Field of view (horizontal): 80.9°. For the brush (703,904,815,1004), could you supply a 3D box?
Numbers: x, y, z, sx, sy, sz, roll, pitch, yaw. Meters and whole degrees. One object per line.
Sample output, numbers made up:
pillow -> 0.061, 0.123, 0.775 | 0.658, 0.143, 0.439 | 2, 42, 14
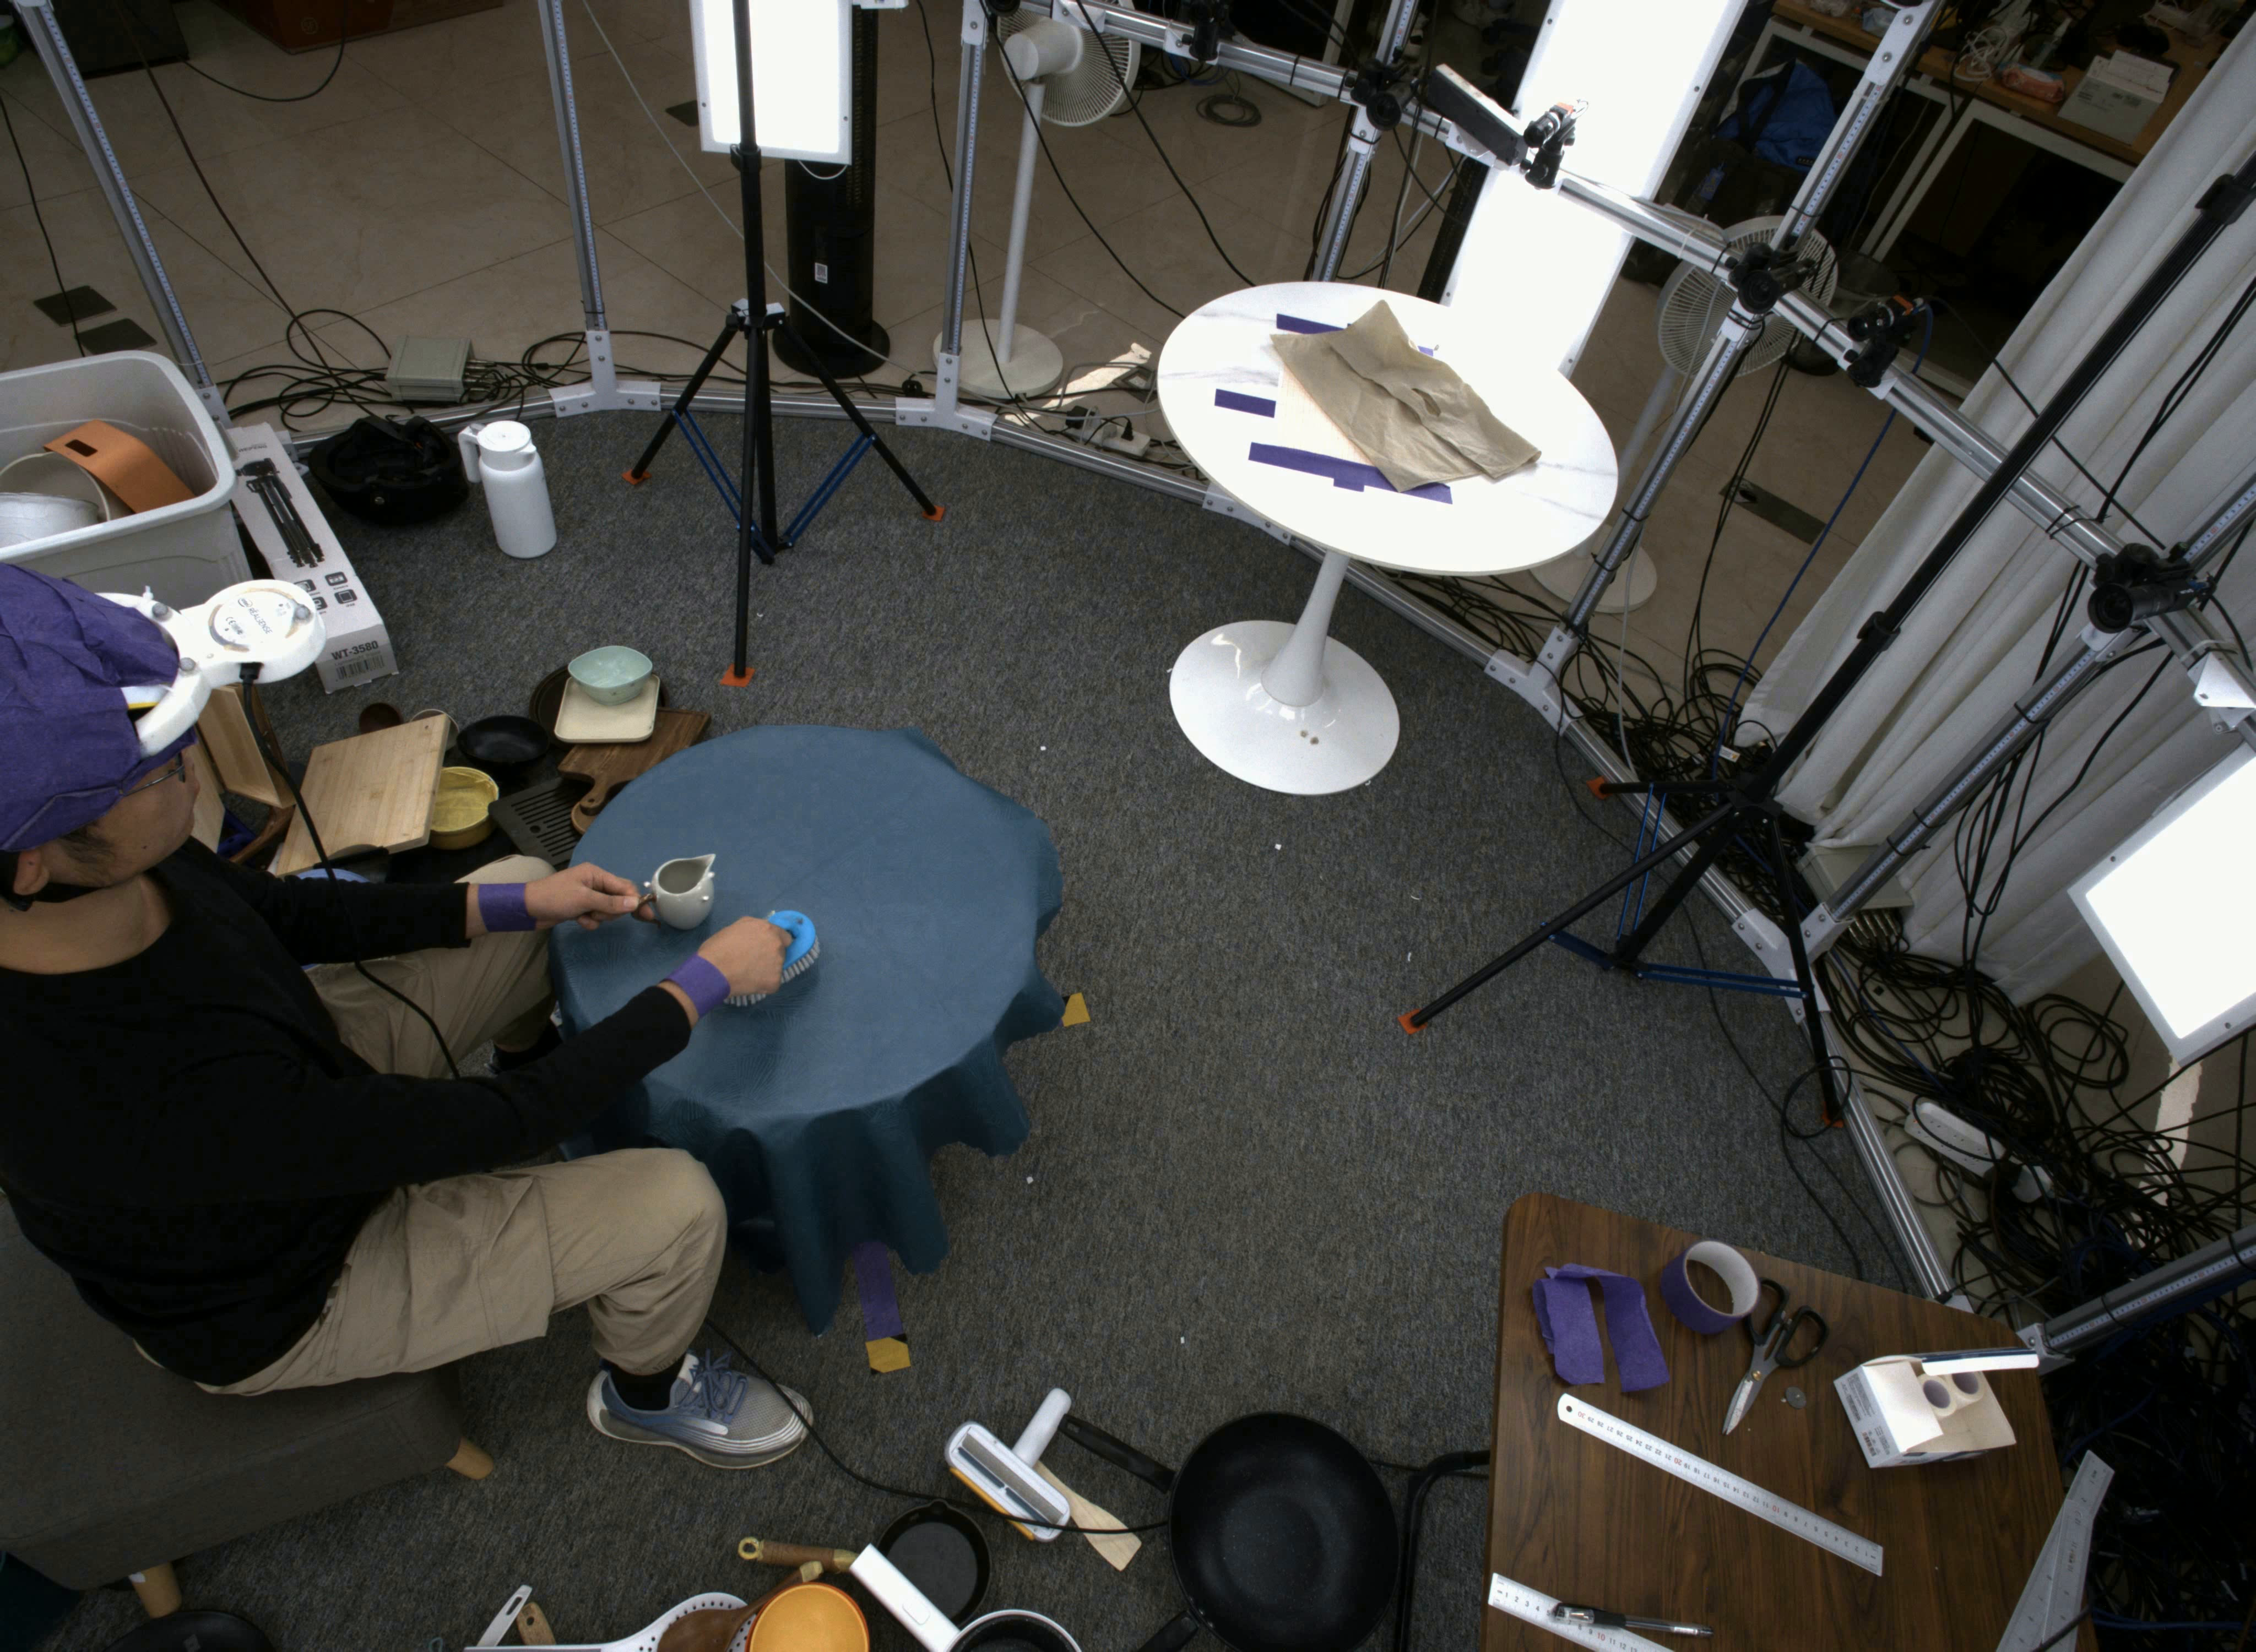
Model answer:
brush -> -0.437, 0.144, 1.537 | 0.142, 0.065, 0.082 | -36, 69, -26

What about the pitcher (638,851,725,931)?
pitcher -> -0.544, 0.083, 1.579 | 0.120, 0.090, 0.073 | -27, 57, -33
